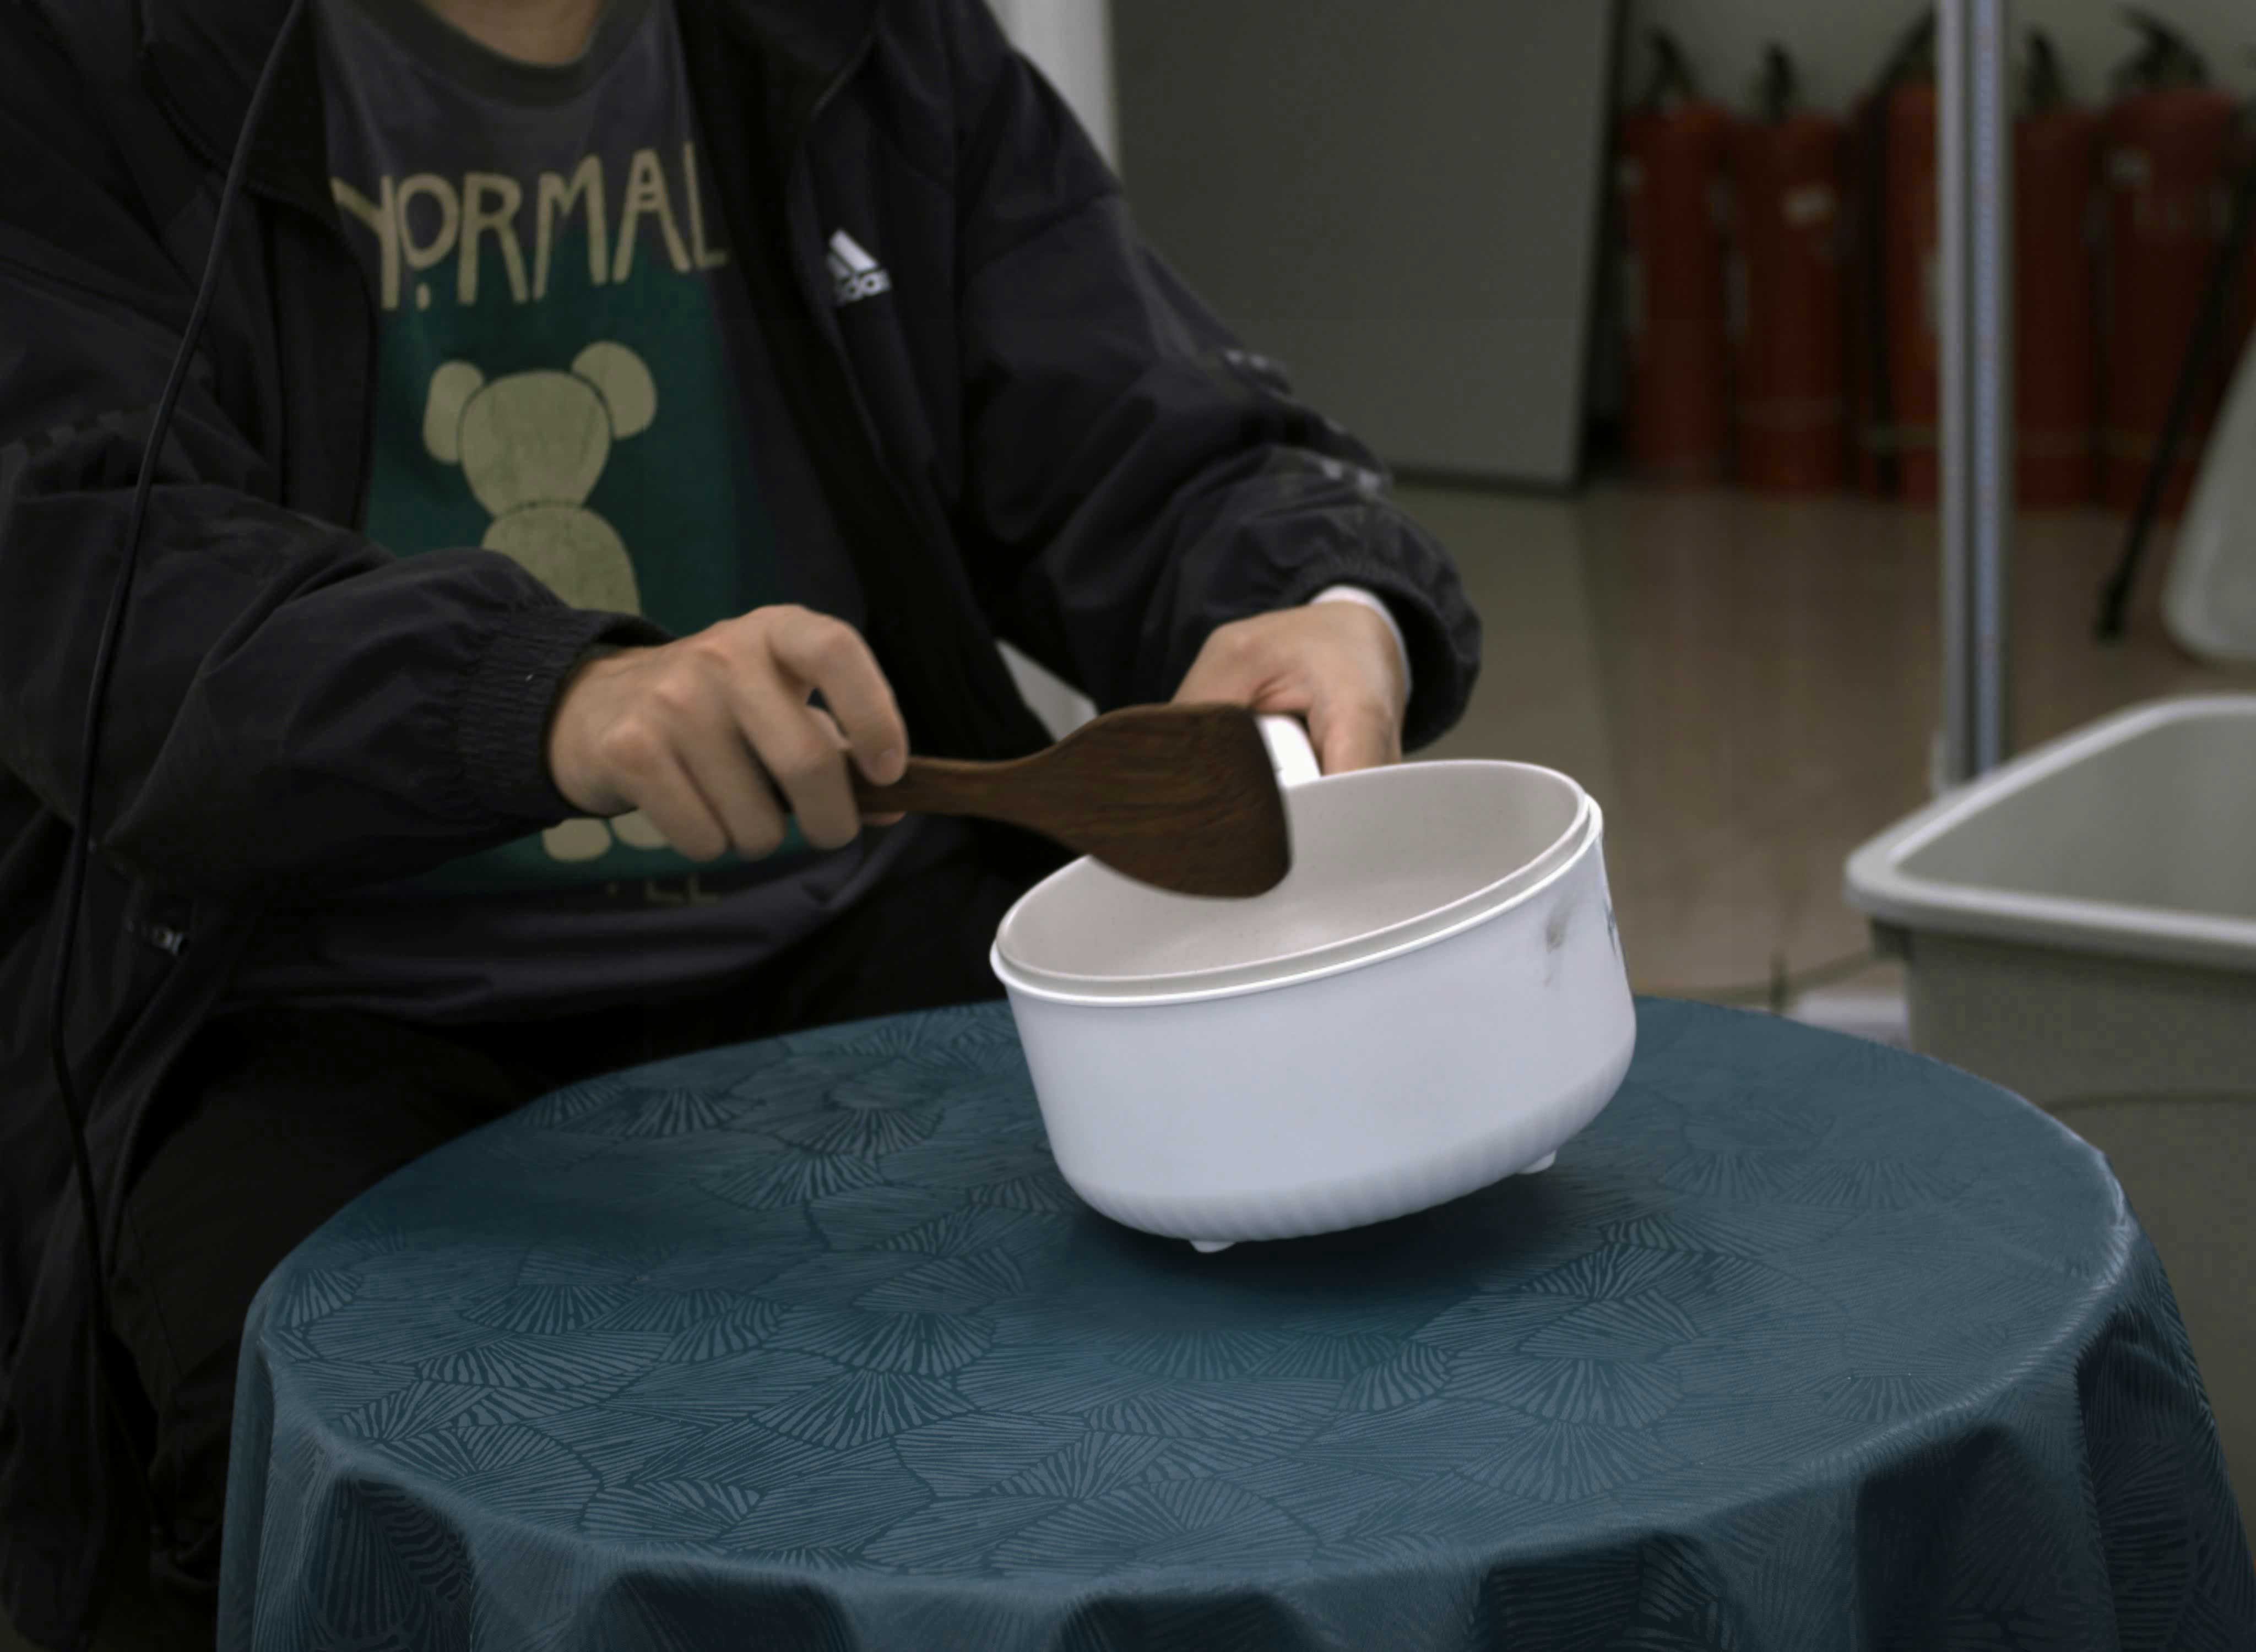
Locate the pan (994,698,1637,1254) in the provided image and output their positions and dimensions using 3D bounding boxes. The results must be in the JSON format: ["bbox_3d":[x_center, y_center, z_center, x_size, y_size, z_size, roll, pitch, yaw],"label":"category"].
[{"bbox_3d":[0.061,0.042,1.797,0.199,0.103,0.355,-15,13,2],"label":"pan"}]

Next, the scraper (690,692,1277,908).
[{"bbox_3d":[-0.050,-0.010,1.709,0.212,0.076,0.011,3,33,31],"label":"scraper"}]
